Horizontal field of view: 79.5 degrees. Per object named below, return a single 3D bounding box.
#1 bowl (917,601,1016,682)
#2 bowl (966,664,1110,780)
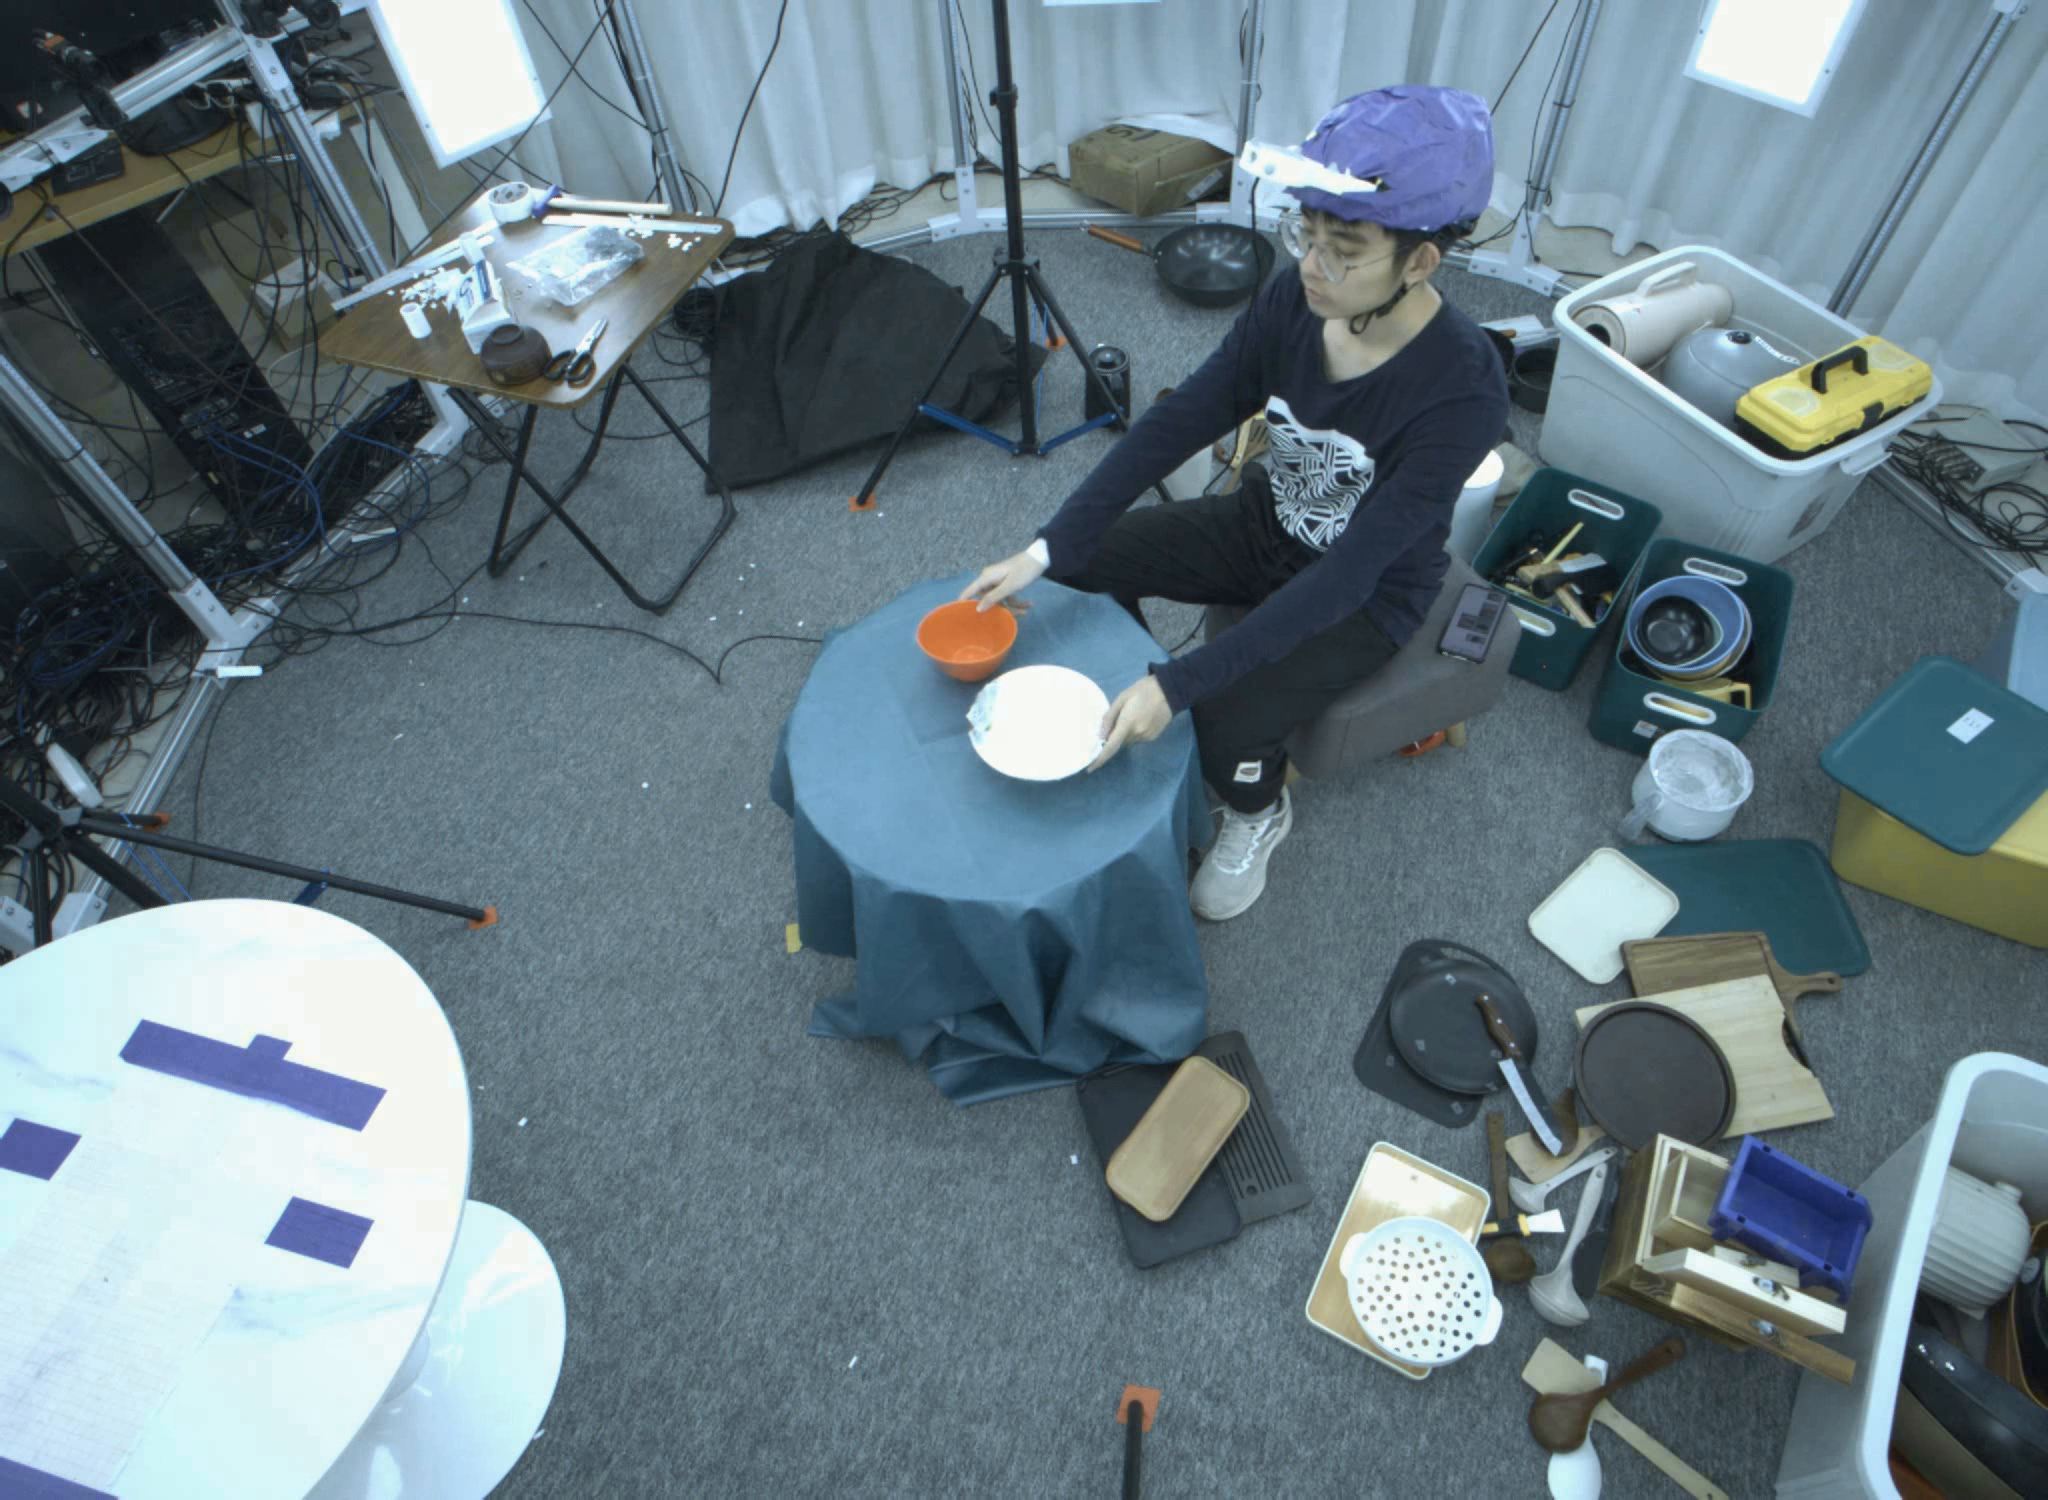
[{"bbox_3d":[-0.083,-0.151,1.844,0.148,0.106,0.146,0,53,1],"label":"bowl"},{"bbox_3d":[0.021,-0.022,1.762,0.204,0.079,0.202,1,55,0],"label":"bowl"}]
